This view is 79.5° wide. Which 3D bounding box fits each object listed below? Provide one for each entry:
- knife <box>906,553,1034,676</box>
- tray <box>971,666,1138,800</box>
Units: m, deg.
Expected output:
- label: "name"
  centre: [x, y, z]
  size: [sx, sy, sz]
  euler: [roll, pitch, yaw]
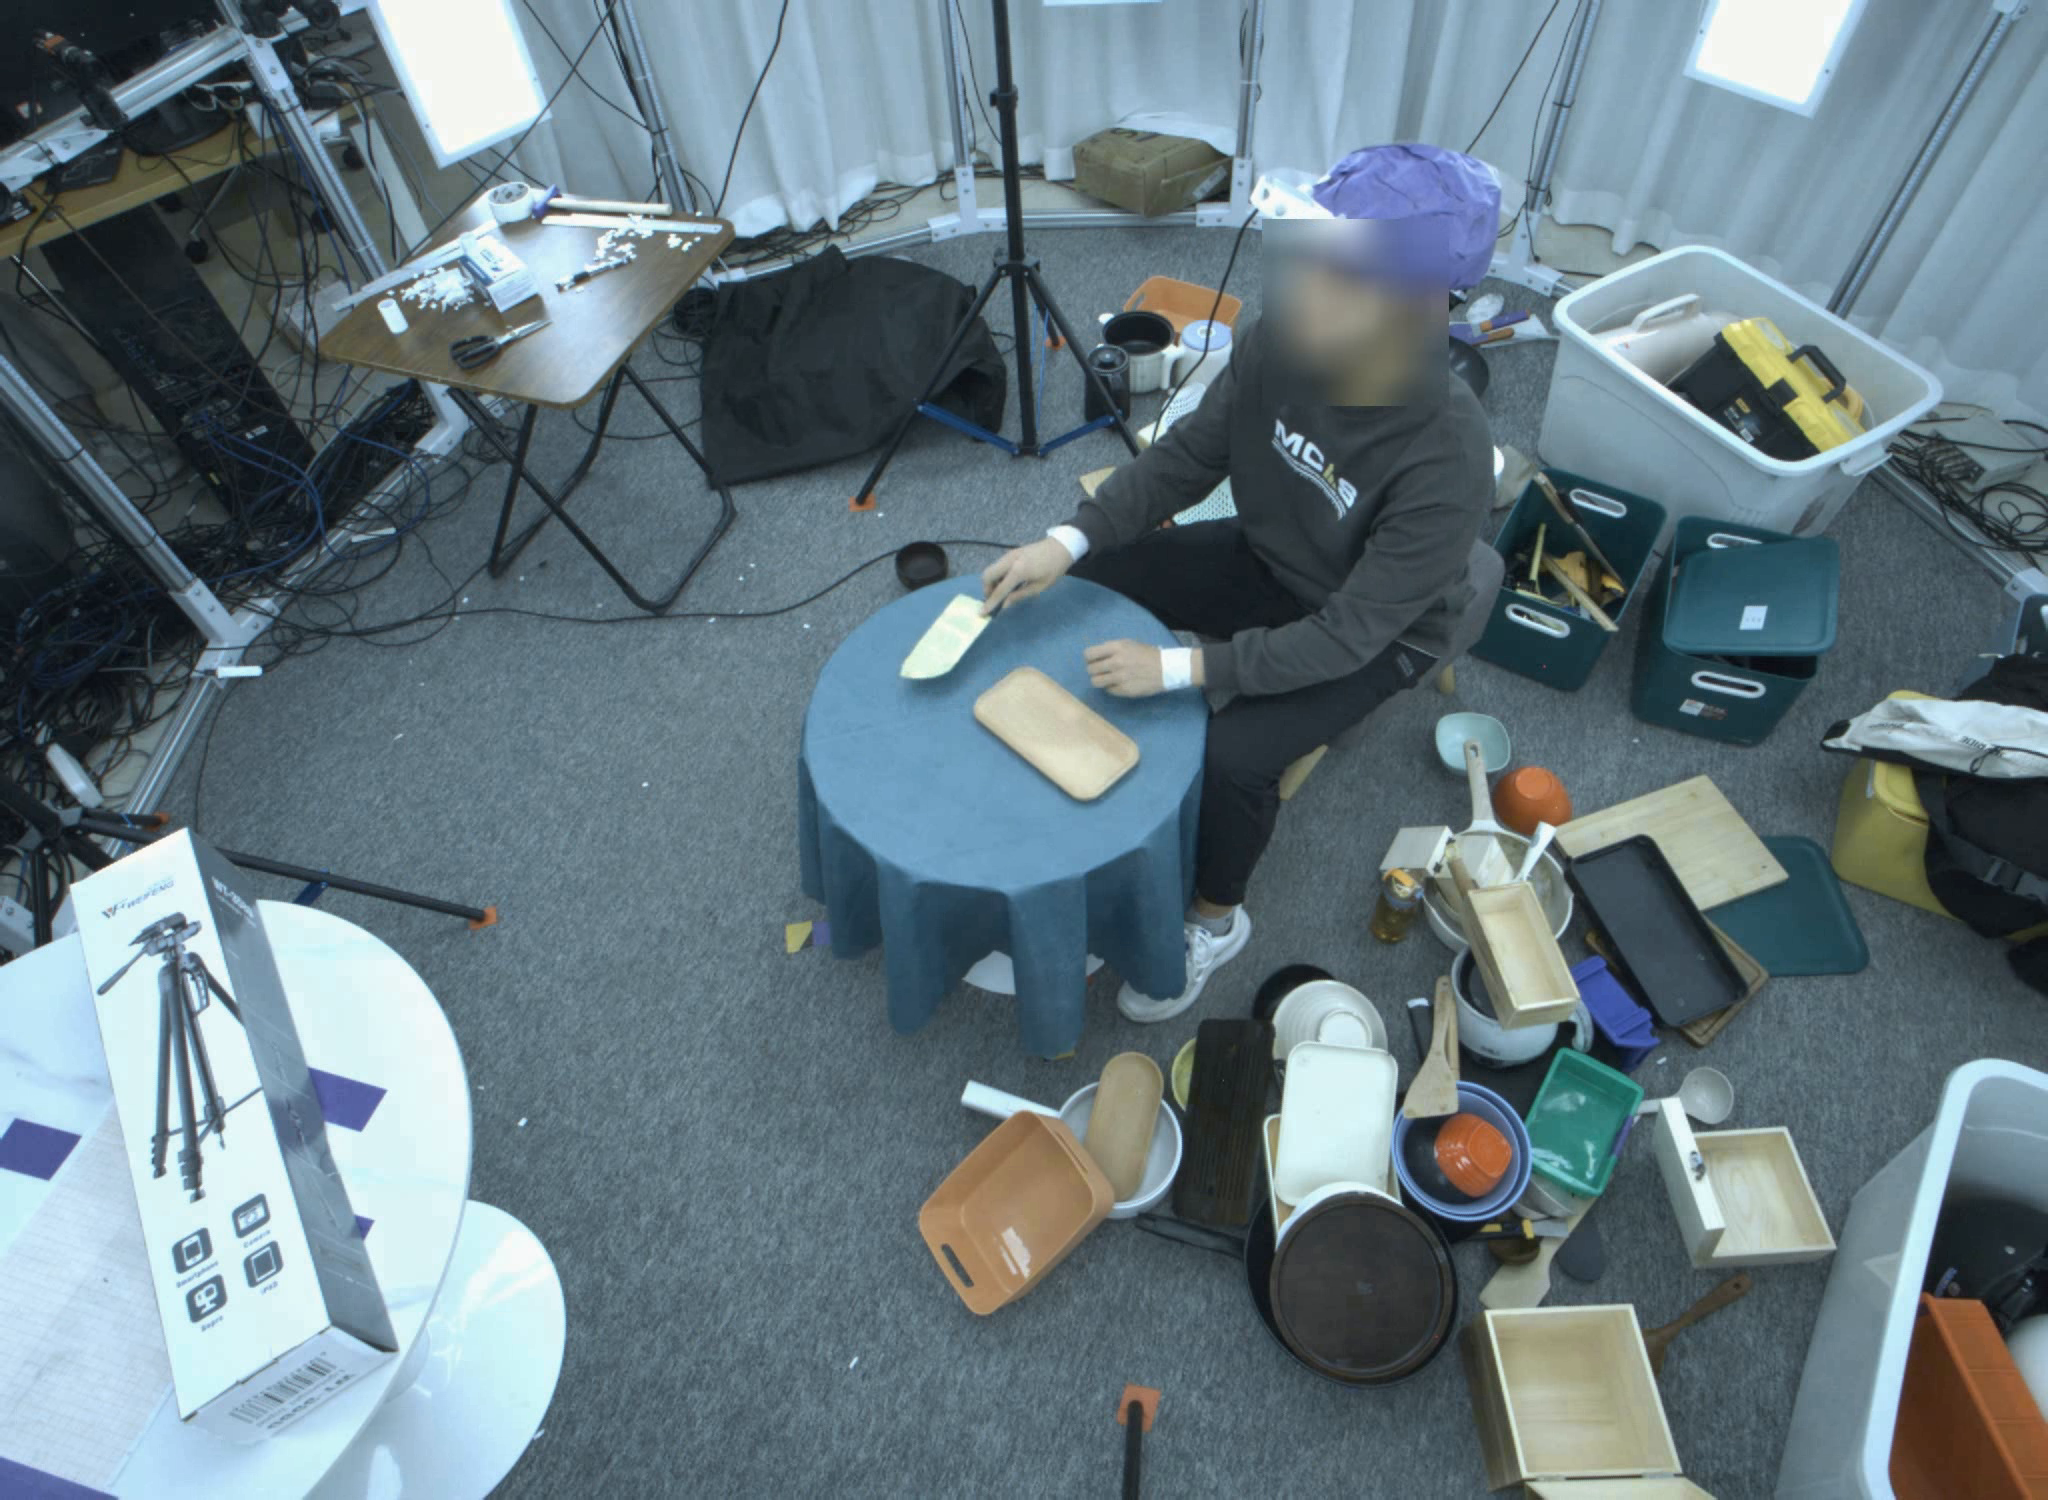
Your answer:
- label: "knife"
  centre: [-0.083, -0.212, 1.887]
  size: [0.080, 0.027, 0.291]
  euler: [33, 64, 17]
- label: "tray"
  centre: [0.042, -0.026, 1.802]
  size: [0.131, 0.023, 0.246]
  euler: [-38, 61, -26]
